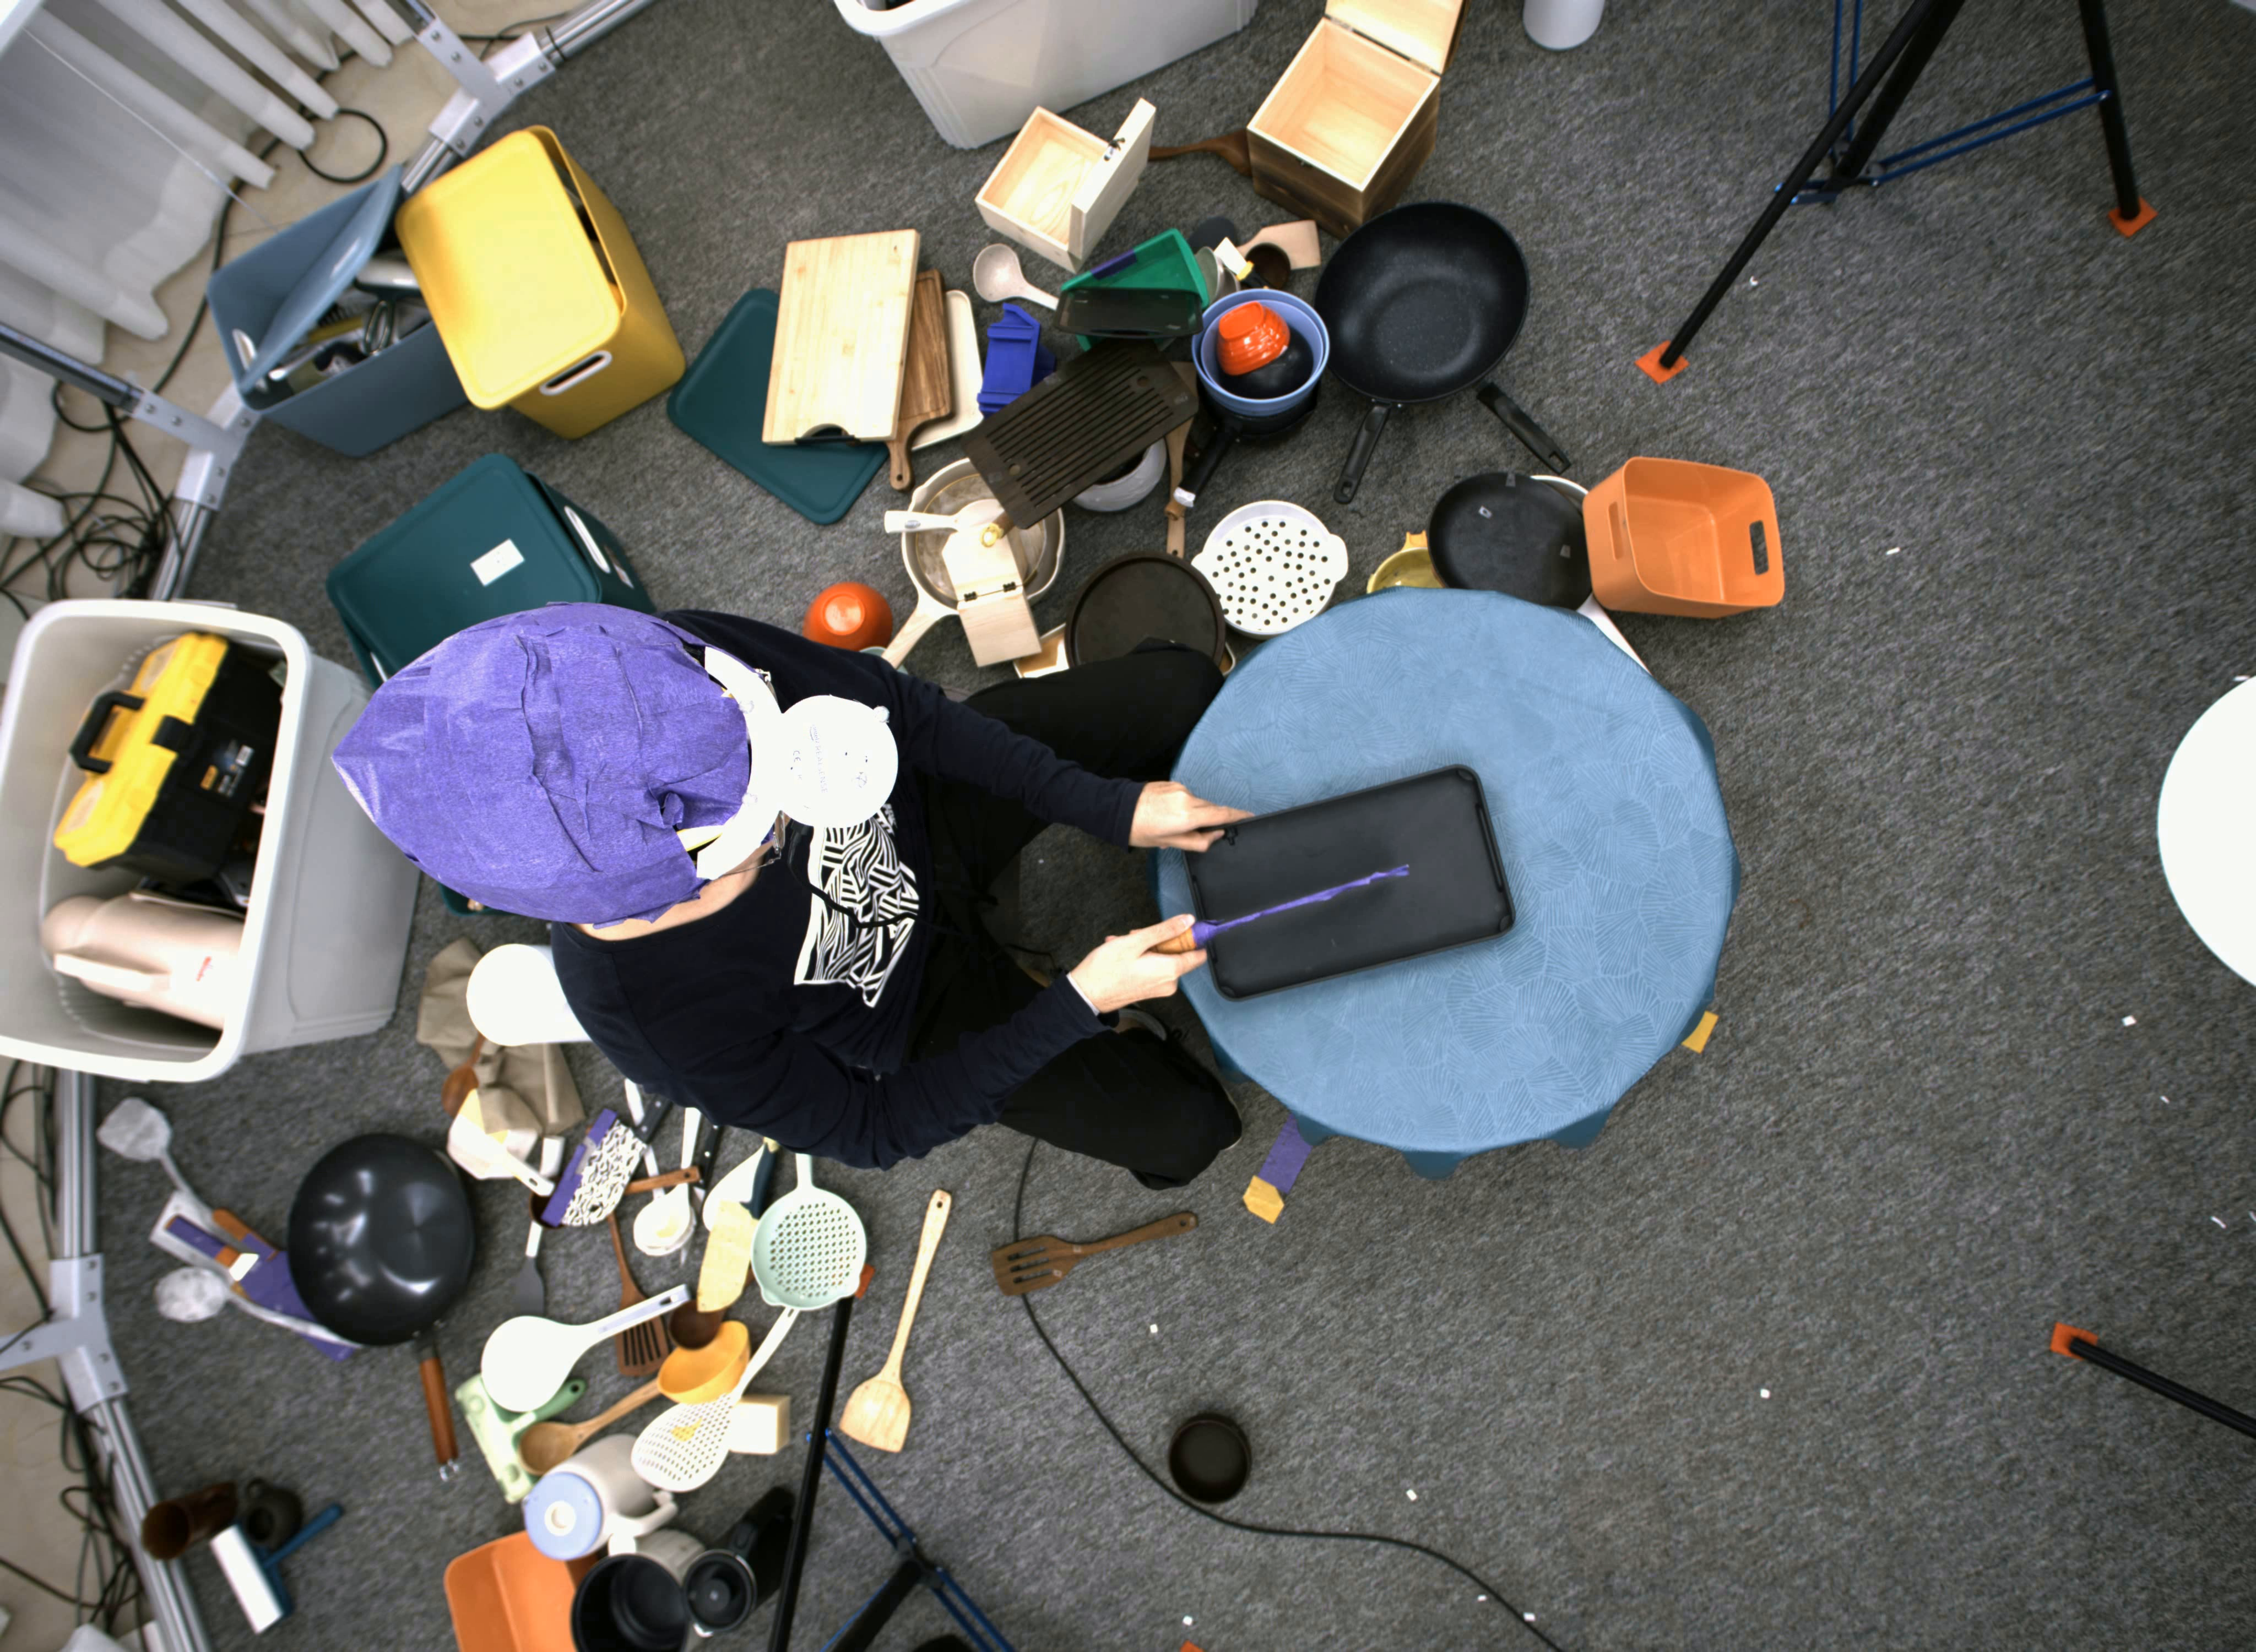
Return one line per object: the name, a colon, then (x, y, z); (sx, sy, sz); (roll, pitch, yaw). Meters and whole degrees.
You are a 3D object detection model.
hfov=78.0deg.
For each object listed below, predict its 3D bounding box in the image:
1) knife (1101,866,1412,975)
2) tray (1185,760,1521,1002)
knife: (0.130, 0.092, 1.390); (0.316, 0.104, 0.032); (-16, 82, 3)
tray: (0.232, 0.057, 1.441); (0.319, 0.037, 0.184); (-16, 88, 9)
